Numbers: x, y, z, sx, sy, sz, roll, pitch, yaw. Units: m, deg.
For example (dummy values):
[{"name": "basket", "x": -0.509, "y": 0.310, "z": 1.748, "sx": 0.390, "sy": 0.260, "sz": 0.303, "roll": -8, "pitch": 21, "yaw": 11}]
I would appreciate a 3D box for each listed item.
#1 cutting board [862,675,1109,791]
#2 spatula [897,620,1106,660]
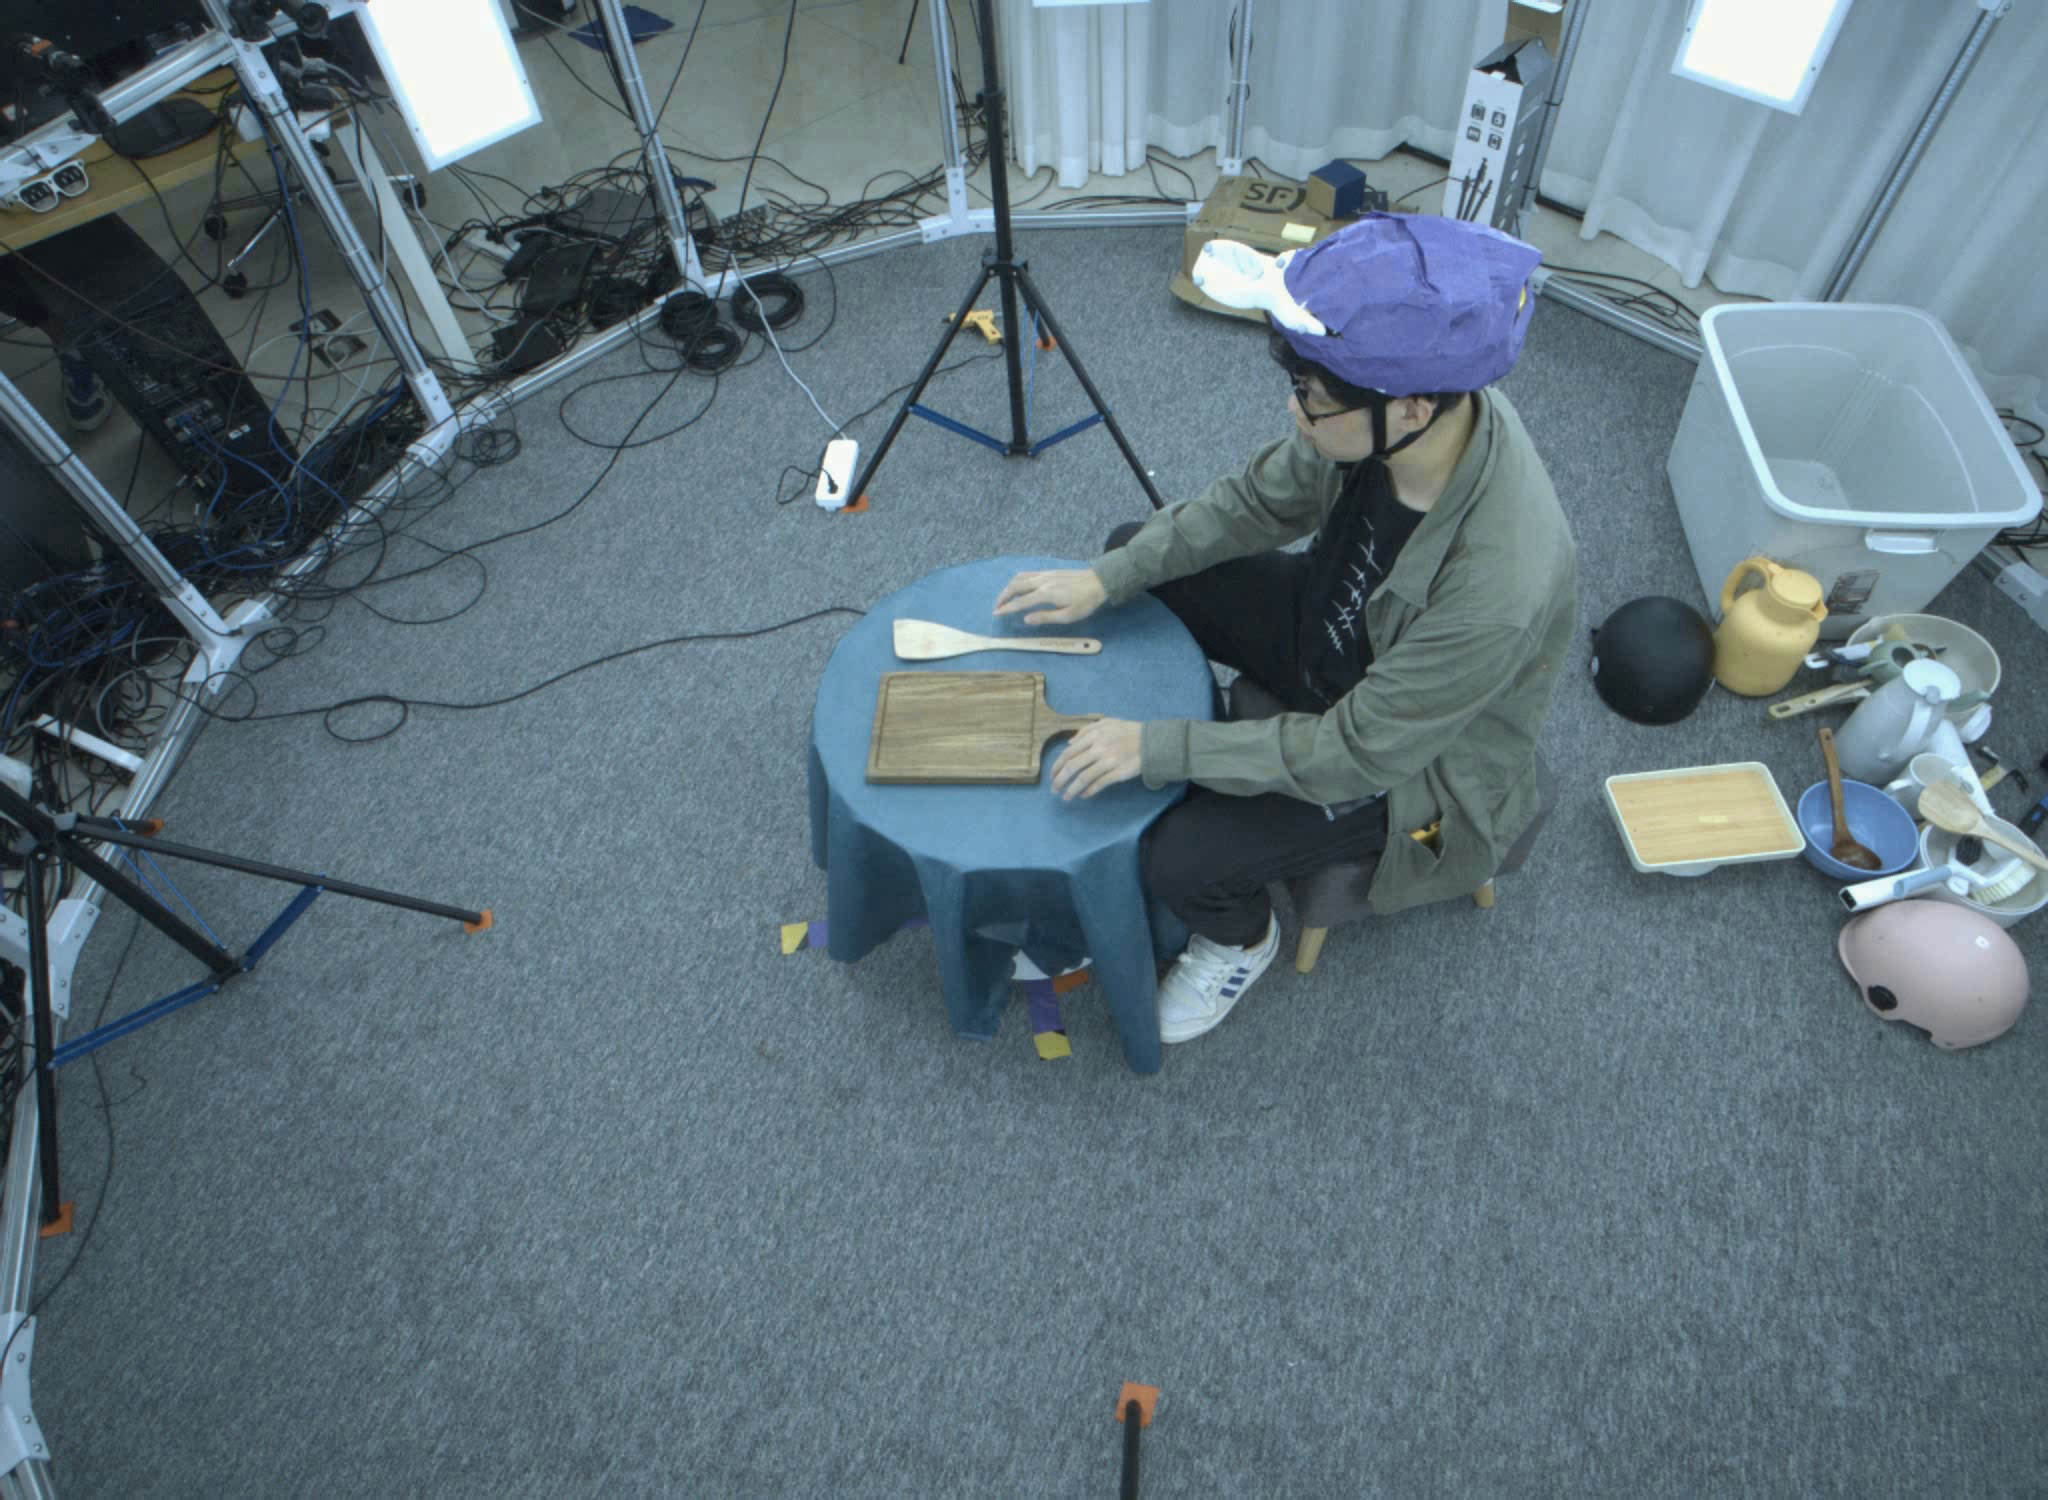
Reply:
[{"name": "cutting board", "x": -0.053, "y": -0.027, "z": 1.799, "sx": 0.351, "sy": 0.023, "sz": 0.199, "roll": 2, "pitch": 55, "yaw": 3}, {"name": "spatula", "x": -0.038, "y": -0.167, "z": 1.902, "sx": 0.327, "sy": 0.017, "sz": 0.079, "roll": 1, "pitch": 55, "yaw": 3}]
